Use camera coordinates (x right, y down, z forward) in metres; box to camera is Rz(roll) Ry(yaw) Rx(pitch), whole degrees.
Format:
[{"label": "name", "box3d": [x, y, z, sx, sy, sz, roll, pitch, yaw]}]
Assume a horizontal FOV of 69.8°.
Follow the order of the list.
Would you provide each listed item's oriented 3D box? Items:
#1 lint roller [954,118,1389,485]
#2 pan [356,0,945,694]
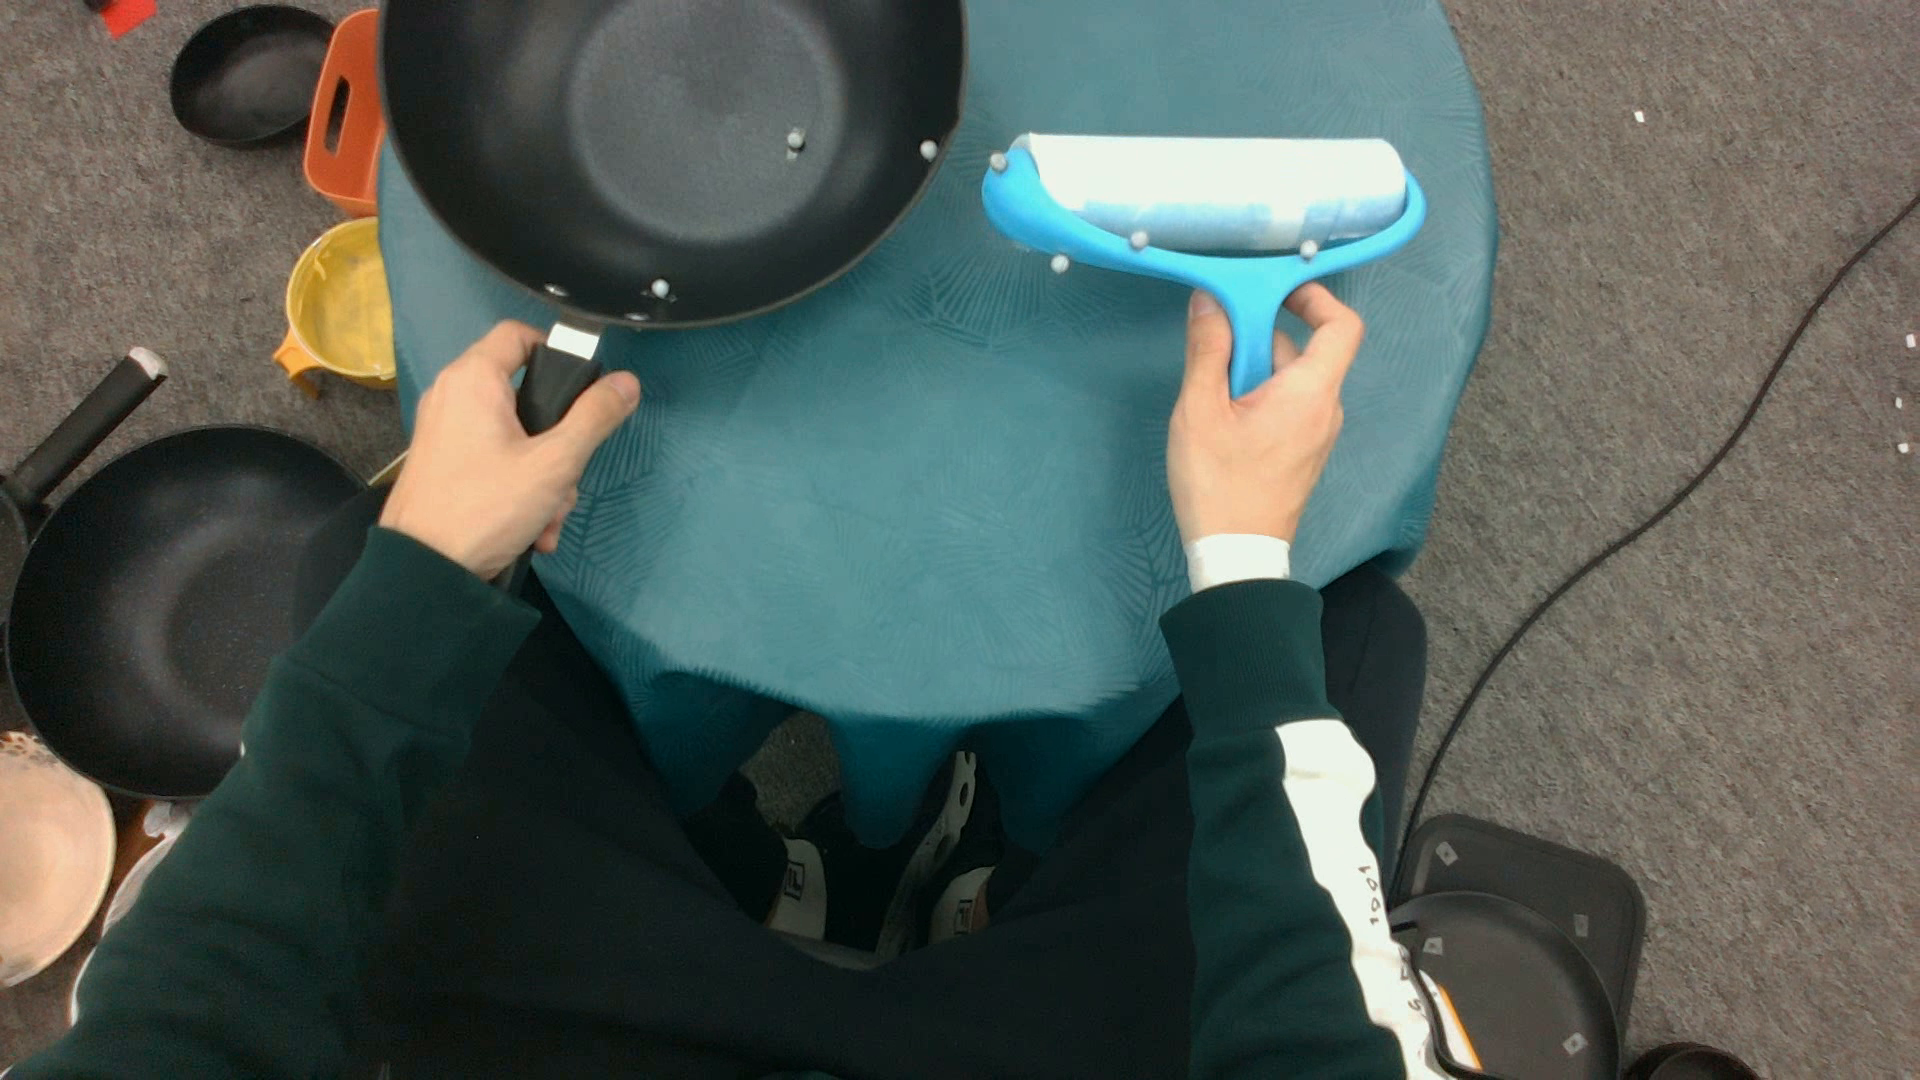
[{"label": "lint roller", "box3d": [0.118, -0.121, 0.668, 0.229, 0.067, 0.180, -9, 81, -22]}, {"label": "pan", "box3d": [-0.174, -0.147, 0.684, 0.288, 0.087, 0.463, 17, 85, 3]}]
